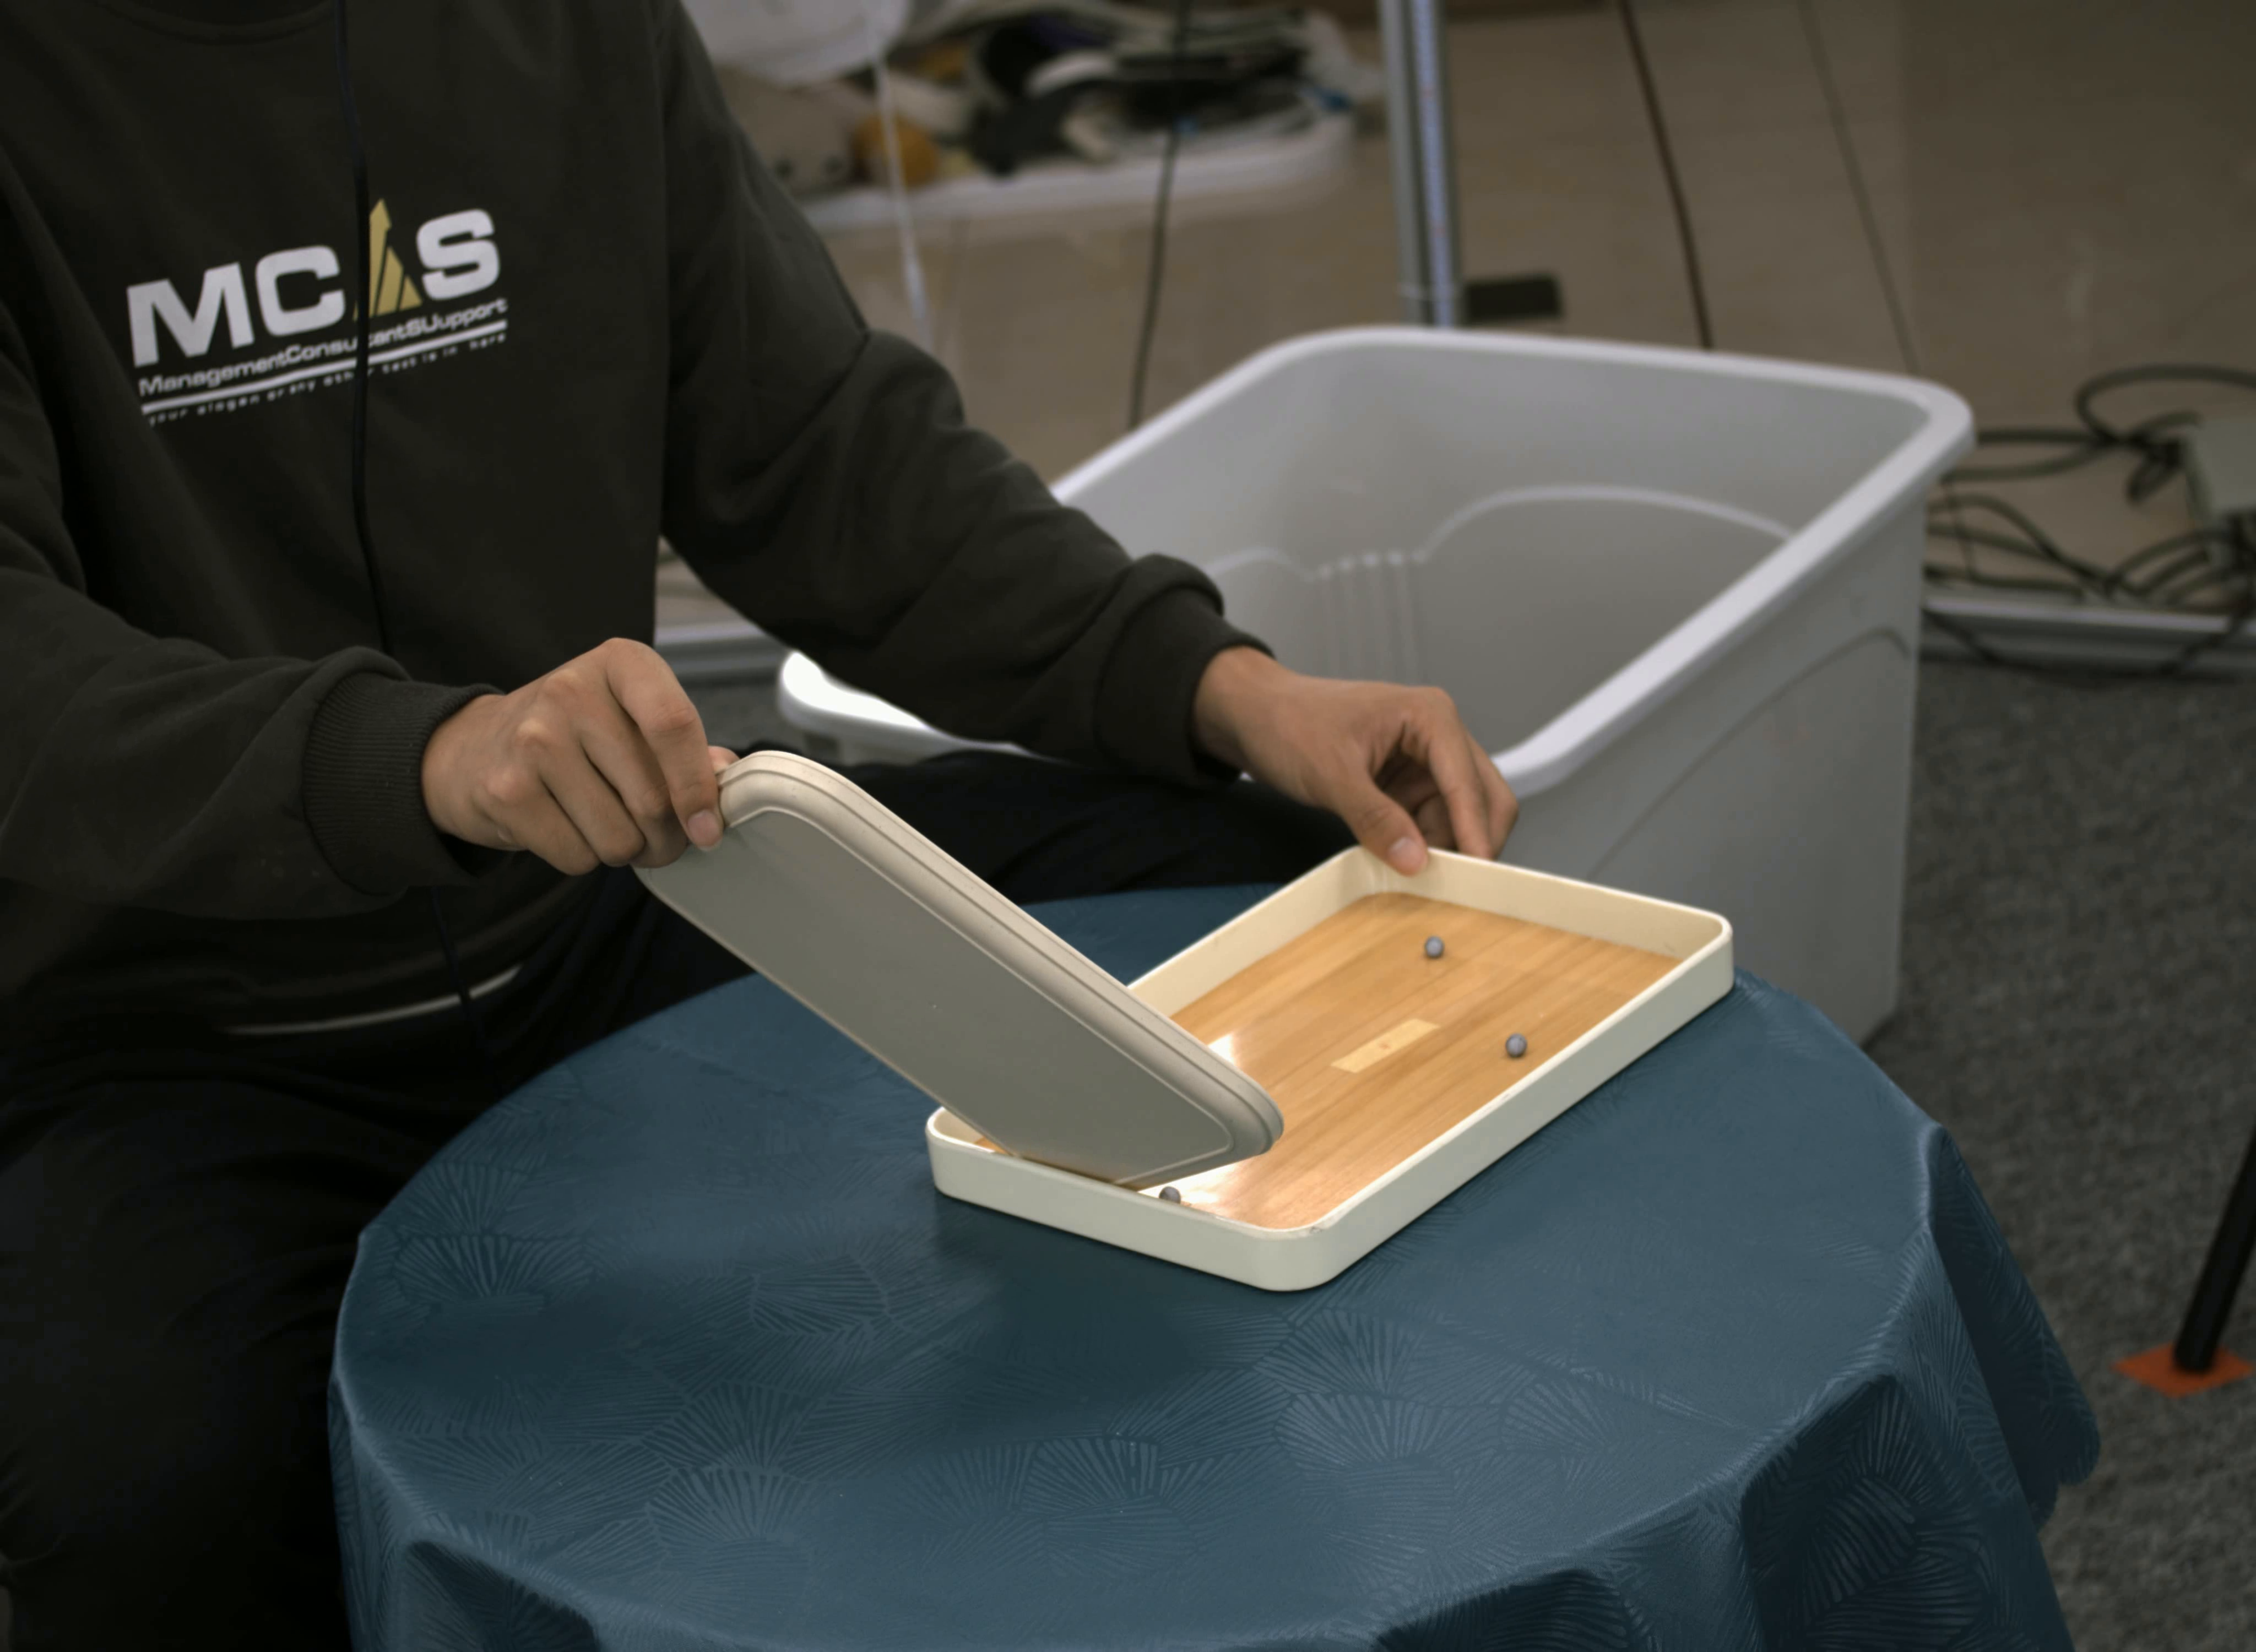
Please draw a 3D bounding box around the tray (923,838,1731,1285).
[{"bbox_3d":[0.081,0.087,2.208,0.190,0.028,0.297,13,31,37],"label":"tray"}]

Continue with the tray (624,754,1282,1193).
[{"bbox_3d":[-0.067,0.060,2.047,0.172,0.241,0.017,-21,36,61],"label":"tray"}]
